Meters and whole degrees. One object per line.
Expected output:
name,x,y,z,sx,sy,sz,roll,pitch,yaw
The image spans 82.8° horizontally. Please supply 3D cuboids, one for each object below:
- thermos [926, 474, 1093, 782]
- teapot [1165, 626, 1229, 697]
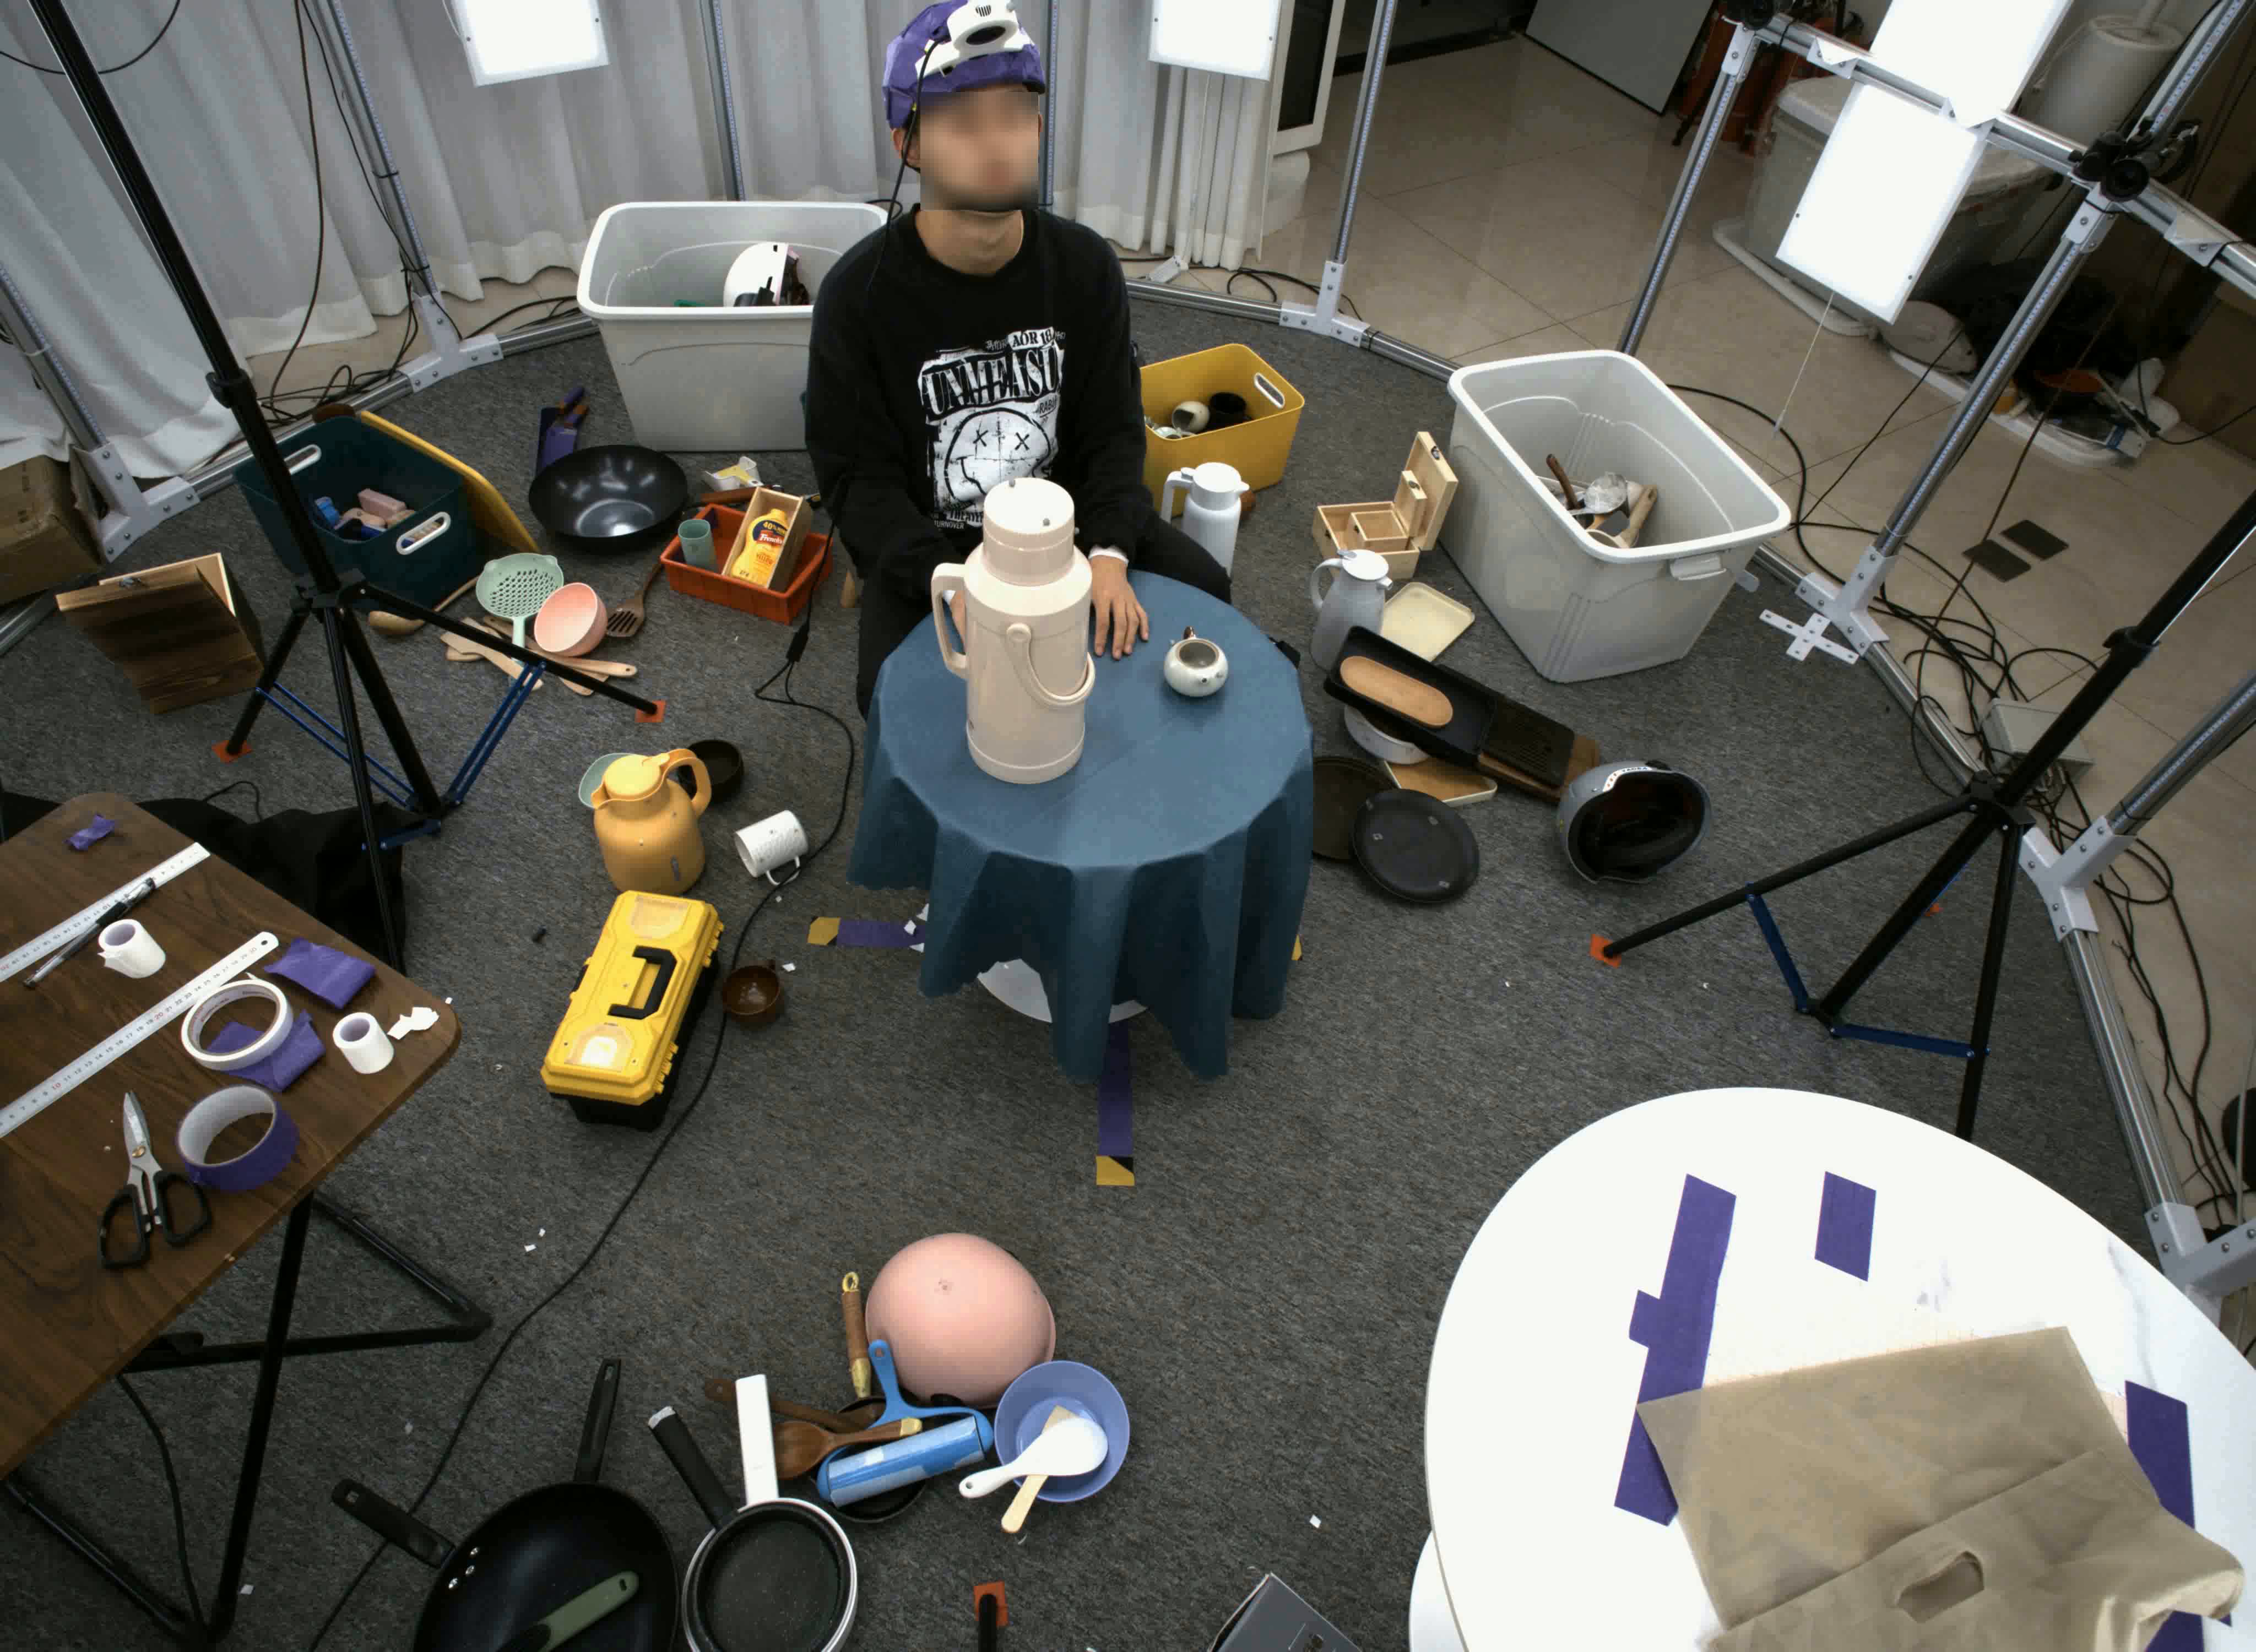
thermos,-0.144,-0.245,1.618,0.207,0.396,0.179,5,51,0
teapot,0.096,-0.234,1.839,0.092,0.058,0.131,-9,51,-6
